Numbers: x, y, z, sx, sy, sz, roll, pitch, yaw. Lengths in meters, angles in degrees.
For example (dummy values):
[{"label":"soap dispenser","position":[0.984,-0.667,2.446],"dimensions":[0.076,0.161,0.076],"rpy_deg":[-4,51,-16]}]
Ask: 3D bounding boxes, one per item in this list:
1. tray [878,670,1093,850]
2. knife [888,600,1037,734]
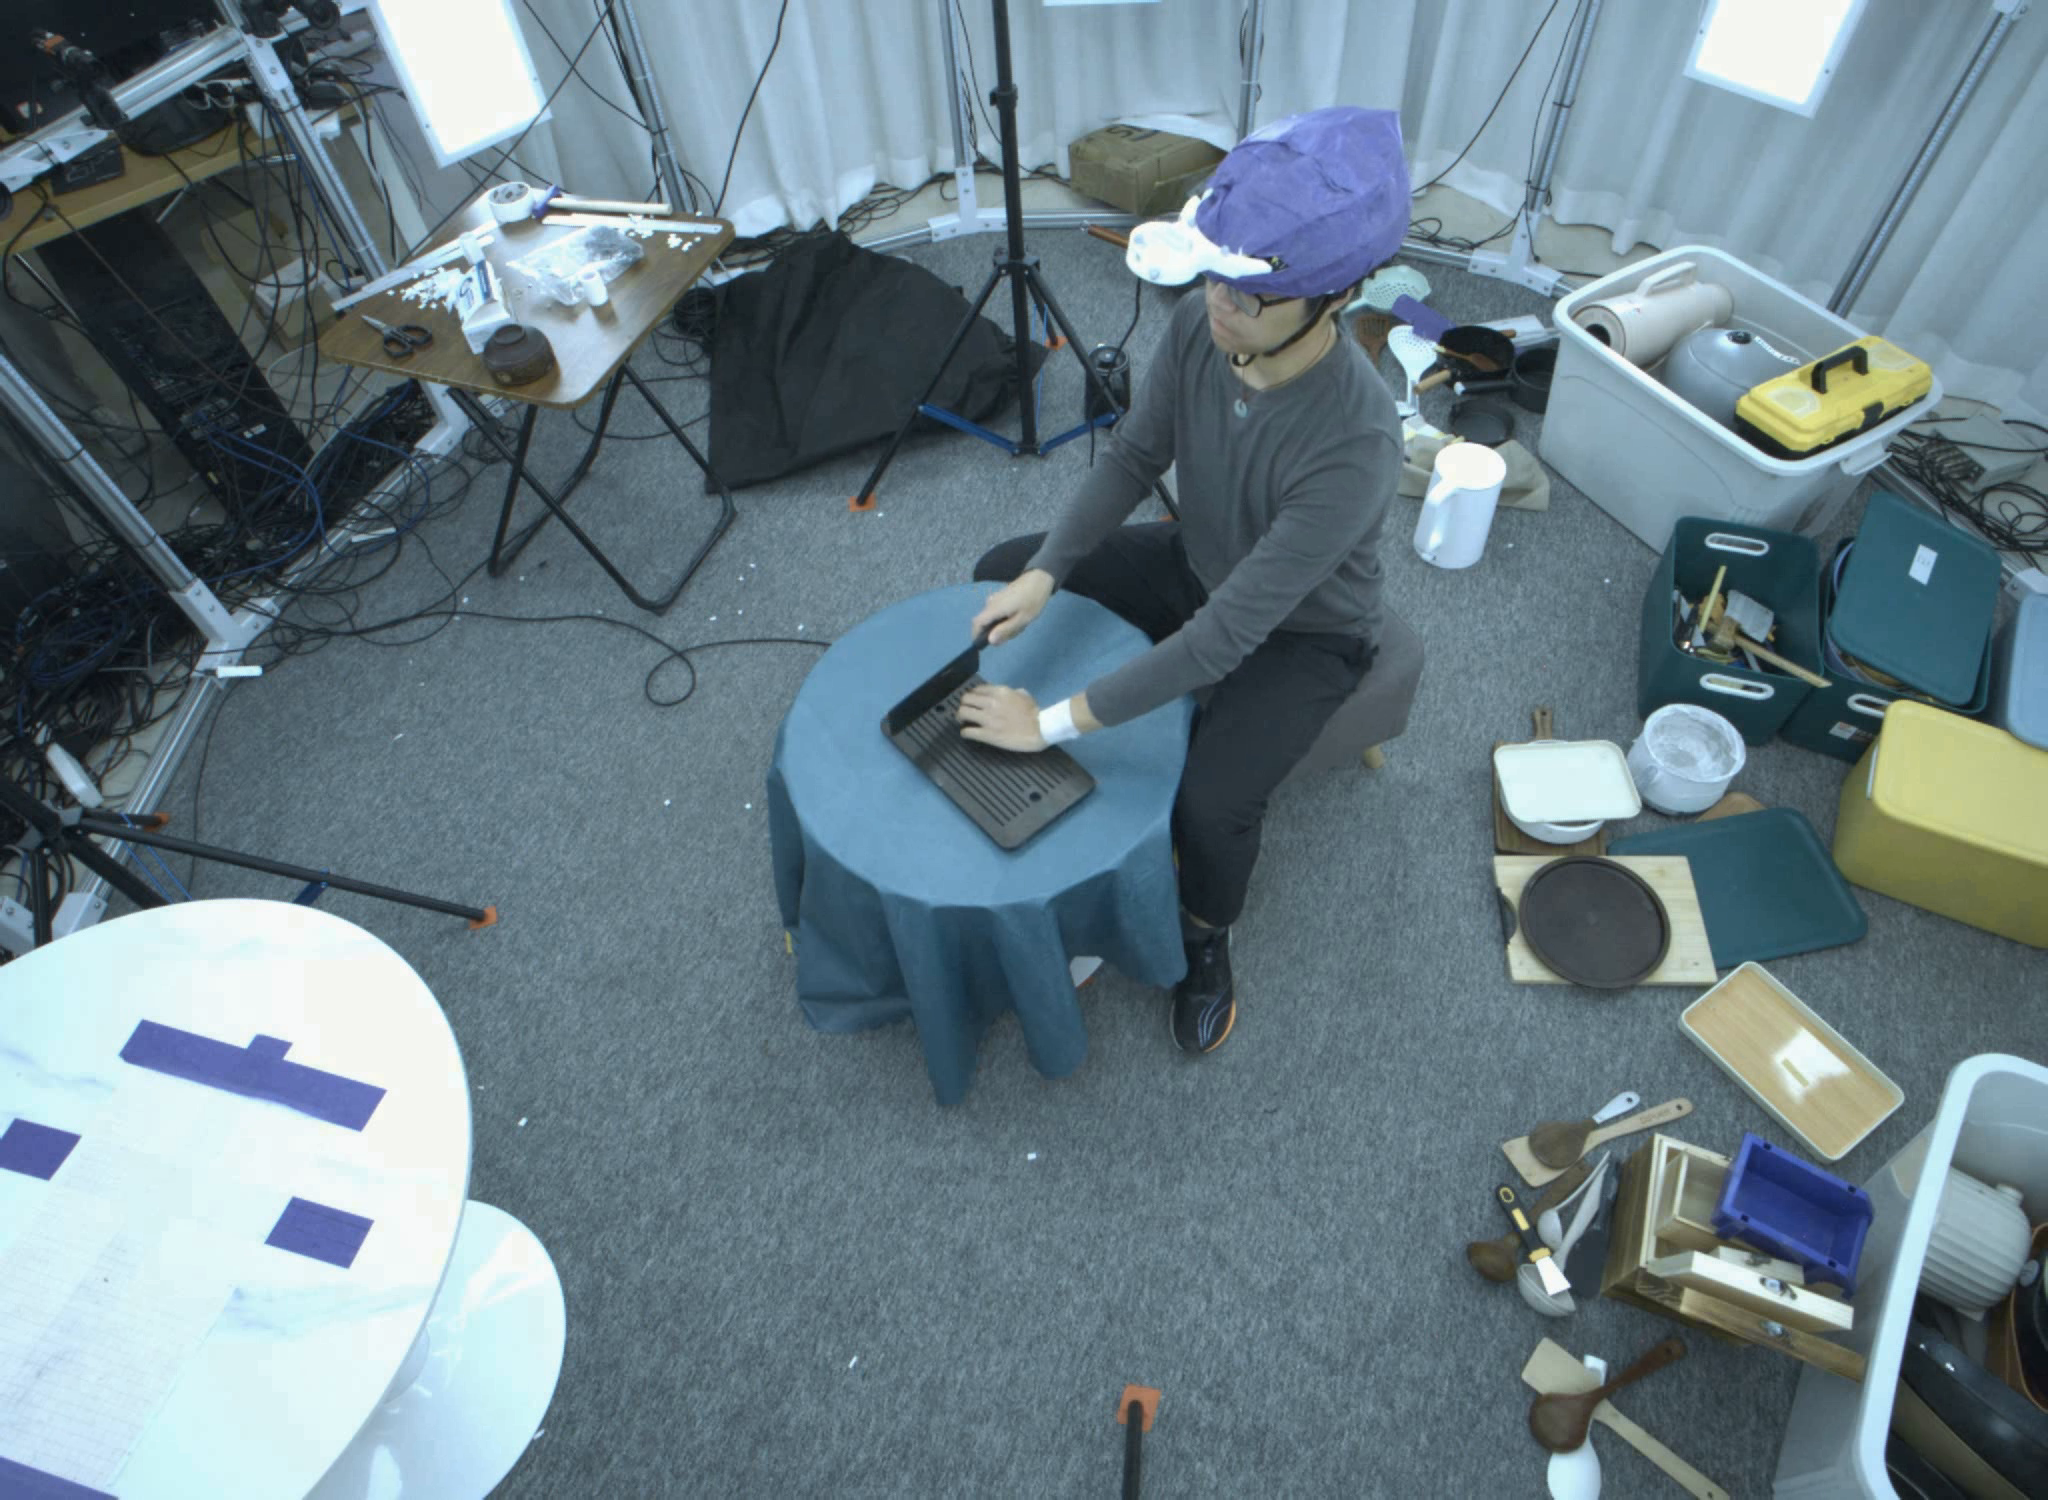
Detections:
[{"label":"tray","position":[-0.059,0.008,1.780],"dimensions":[0.171,0.019,0.300],"rpy_deg":[-35,61,-23]},{"label":"knife","position":[-0.087,-0.126,1.778],"dimensions":[0.020,0.081,0.304],"rpy_deg":[37,63,23]}]
